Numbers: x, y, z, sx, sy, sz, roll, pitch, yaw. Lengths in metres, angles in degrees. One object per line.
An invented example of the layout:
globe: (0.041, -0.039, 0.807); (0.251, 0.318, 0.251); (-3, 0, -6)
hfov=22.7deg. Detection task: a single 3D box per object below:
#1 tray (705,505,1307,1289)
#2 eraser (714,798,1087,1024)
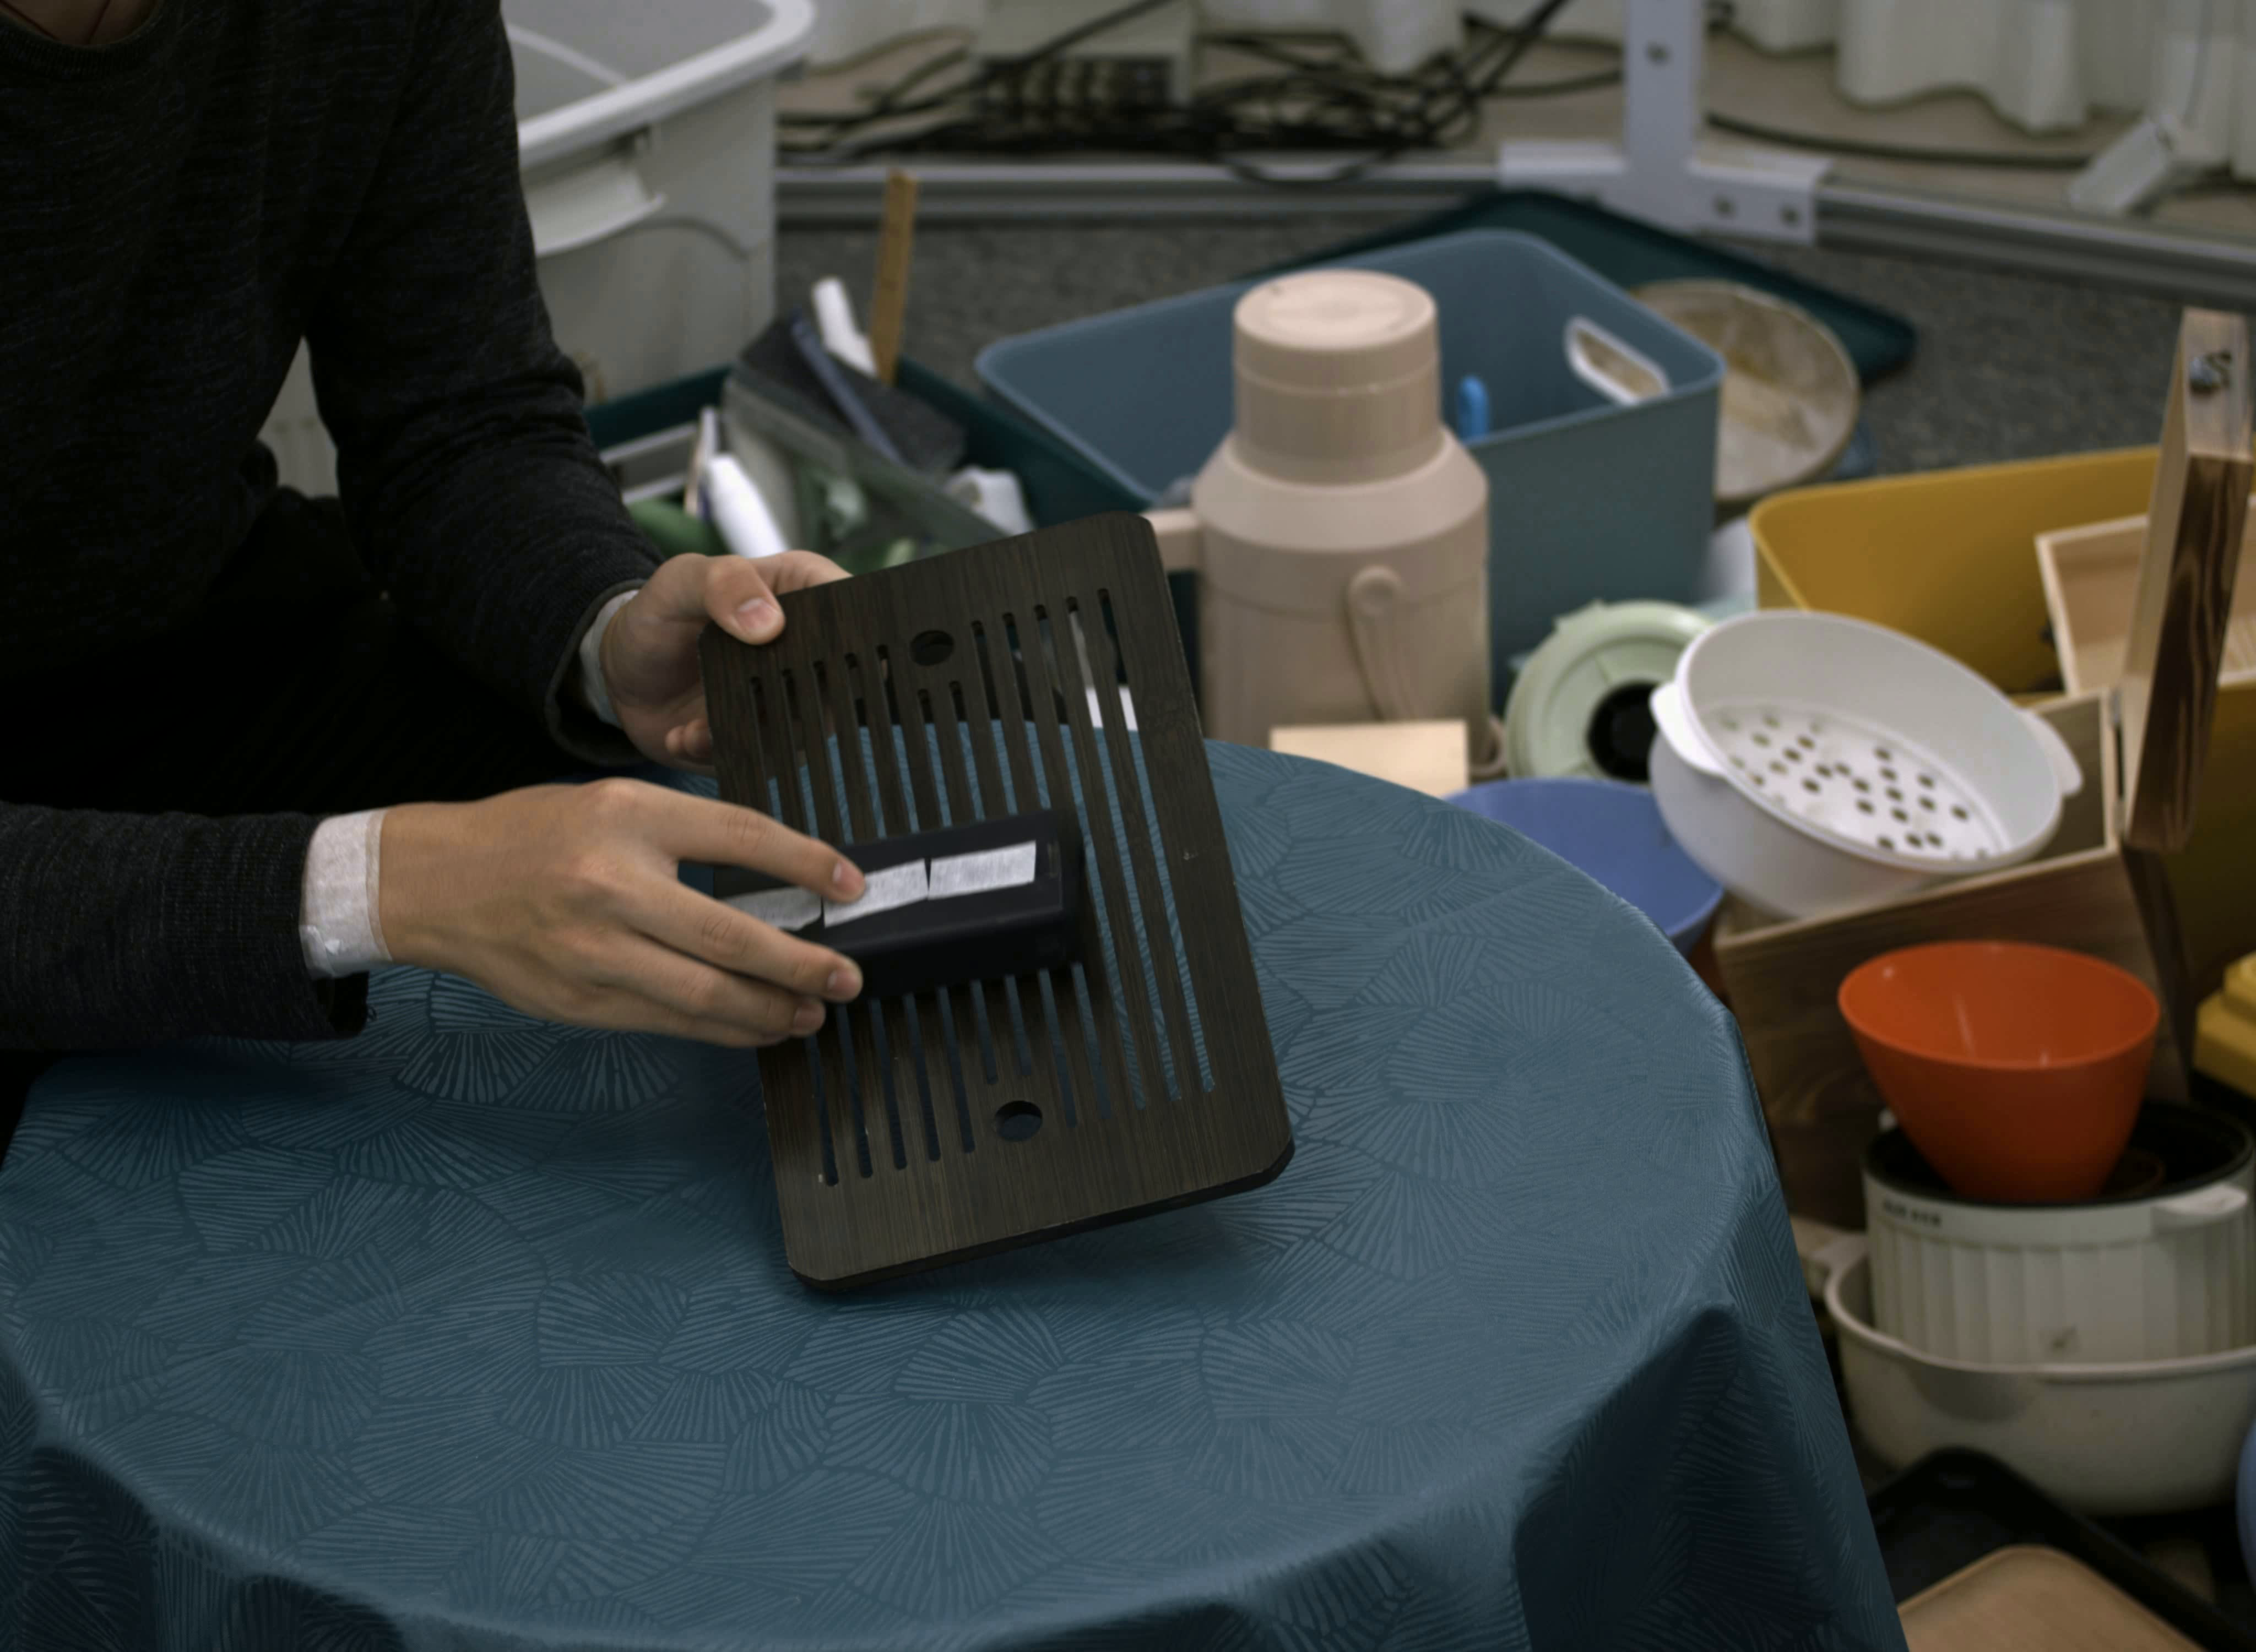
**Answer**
tray: (-0.046, 0.020, 1.909); (0.169, 0.018, 0.311); (-14, 48, 2)
eraser: (-0.076, 0.028, 1.881); (0.125, 0.030, 0.054); (-12, 45, 6)
